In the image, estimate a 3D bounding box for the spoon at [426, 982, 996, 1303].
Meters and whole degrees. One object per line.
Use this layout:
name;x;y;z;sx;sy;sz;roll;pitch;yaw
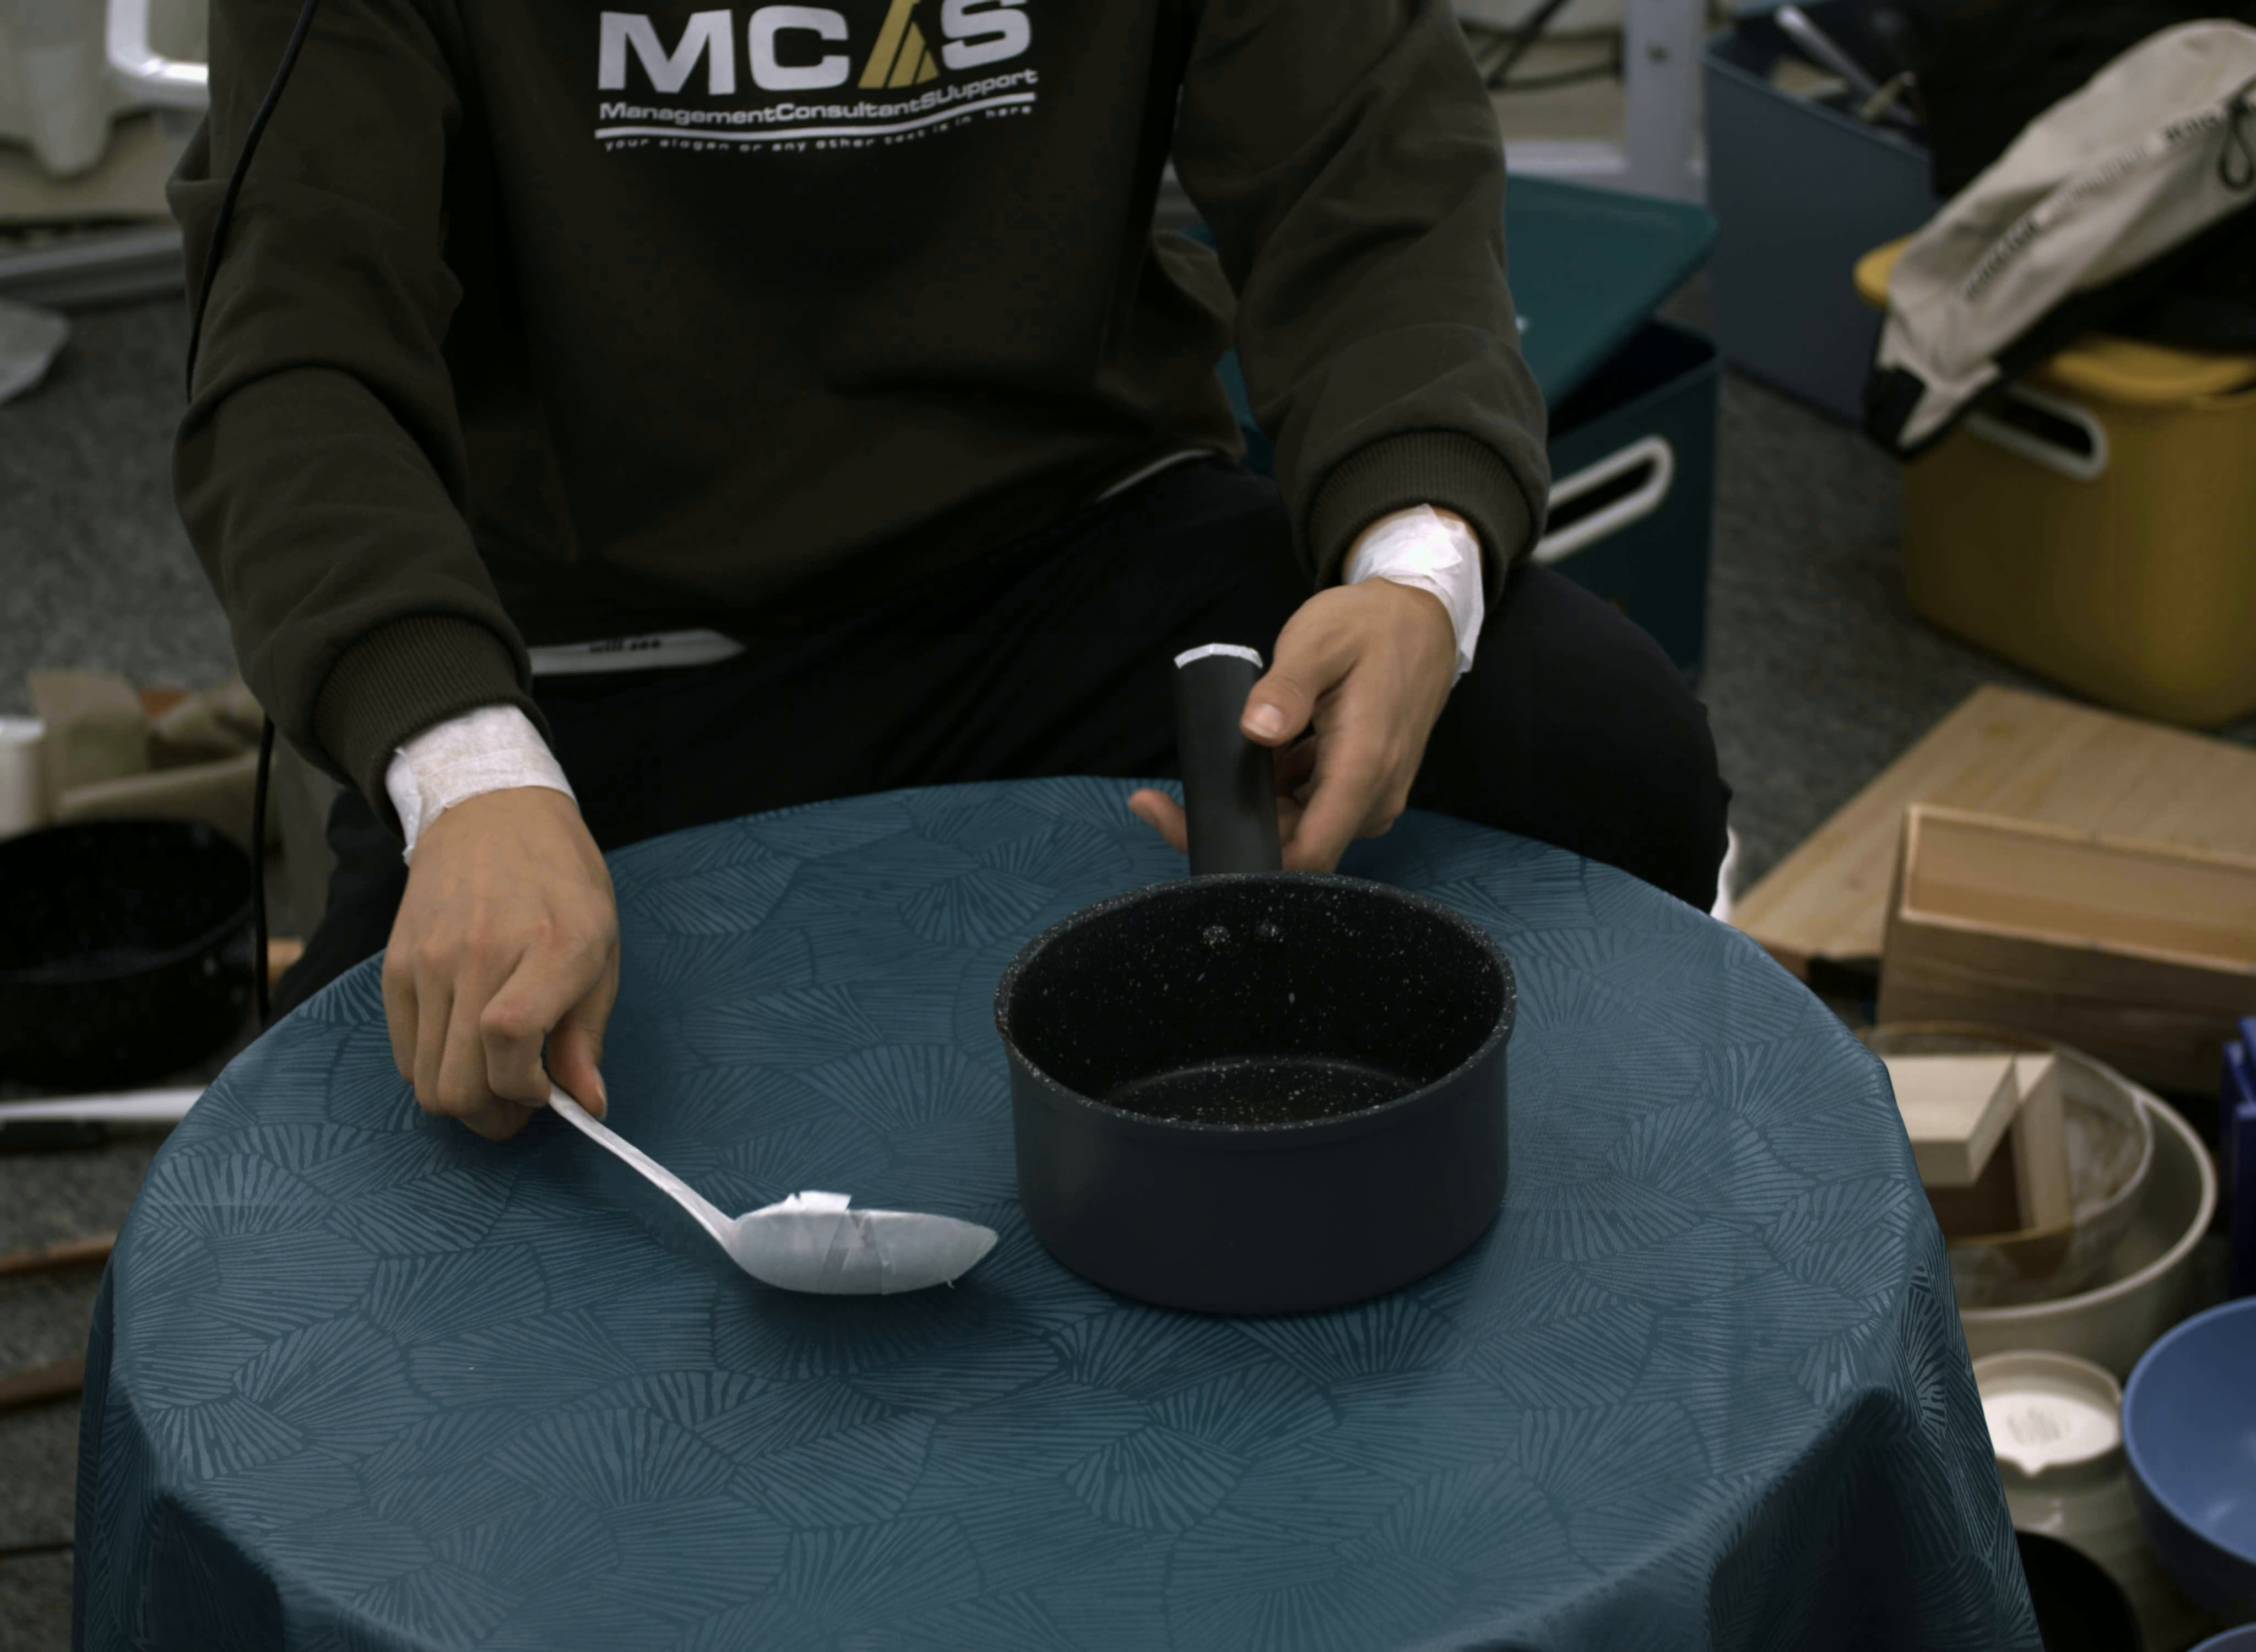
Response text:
spoon;-0.145;0.092;1.855;0.100;0.059;0.278;18;12;-44

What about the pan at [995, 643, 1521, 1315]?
pan;0.044;0.048;1.910;0.171;0.085;0.334;-1;28;1
